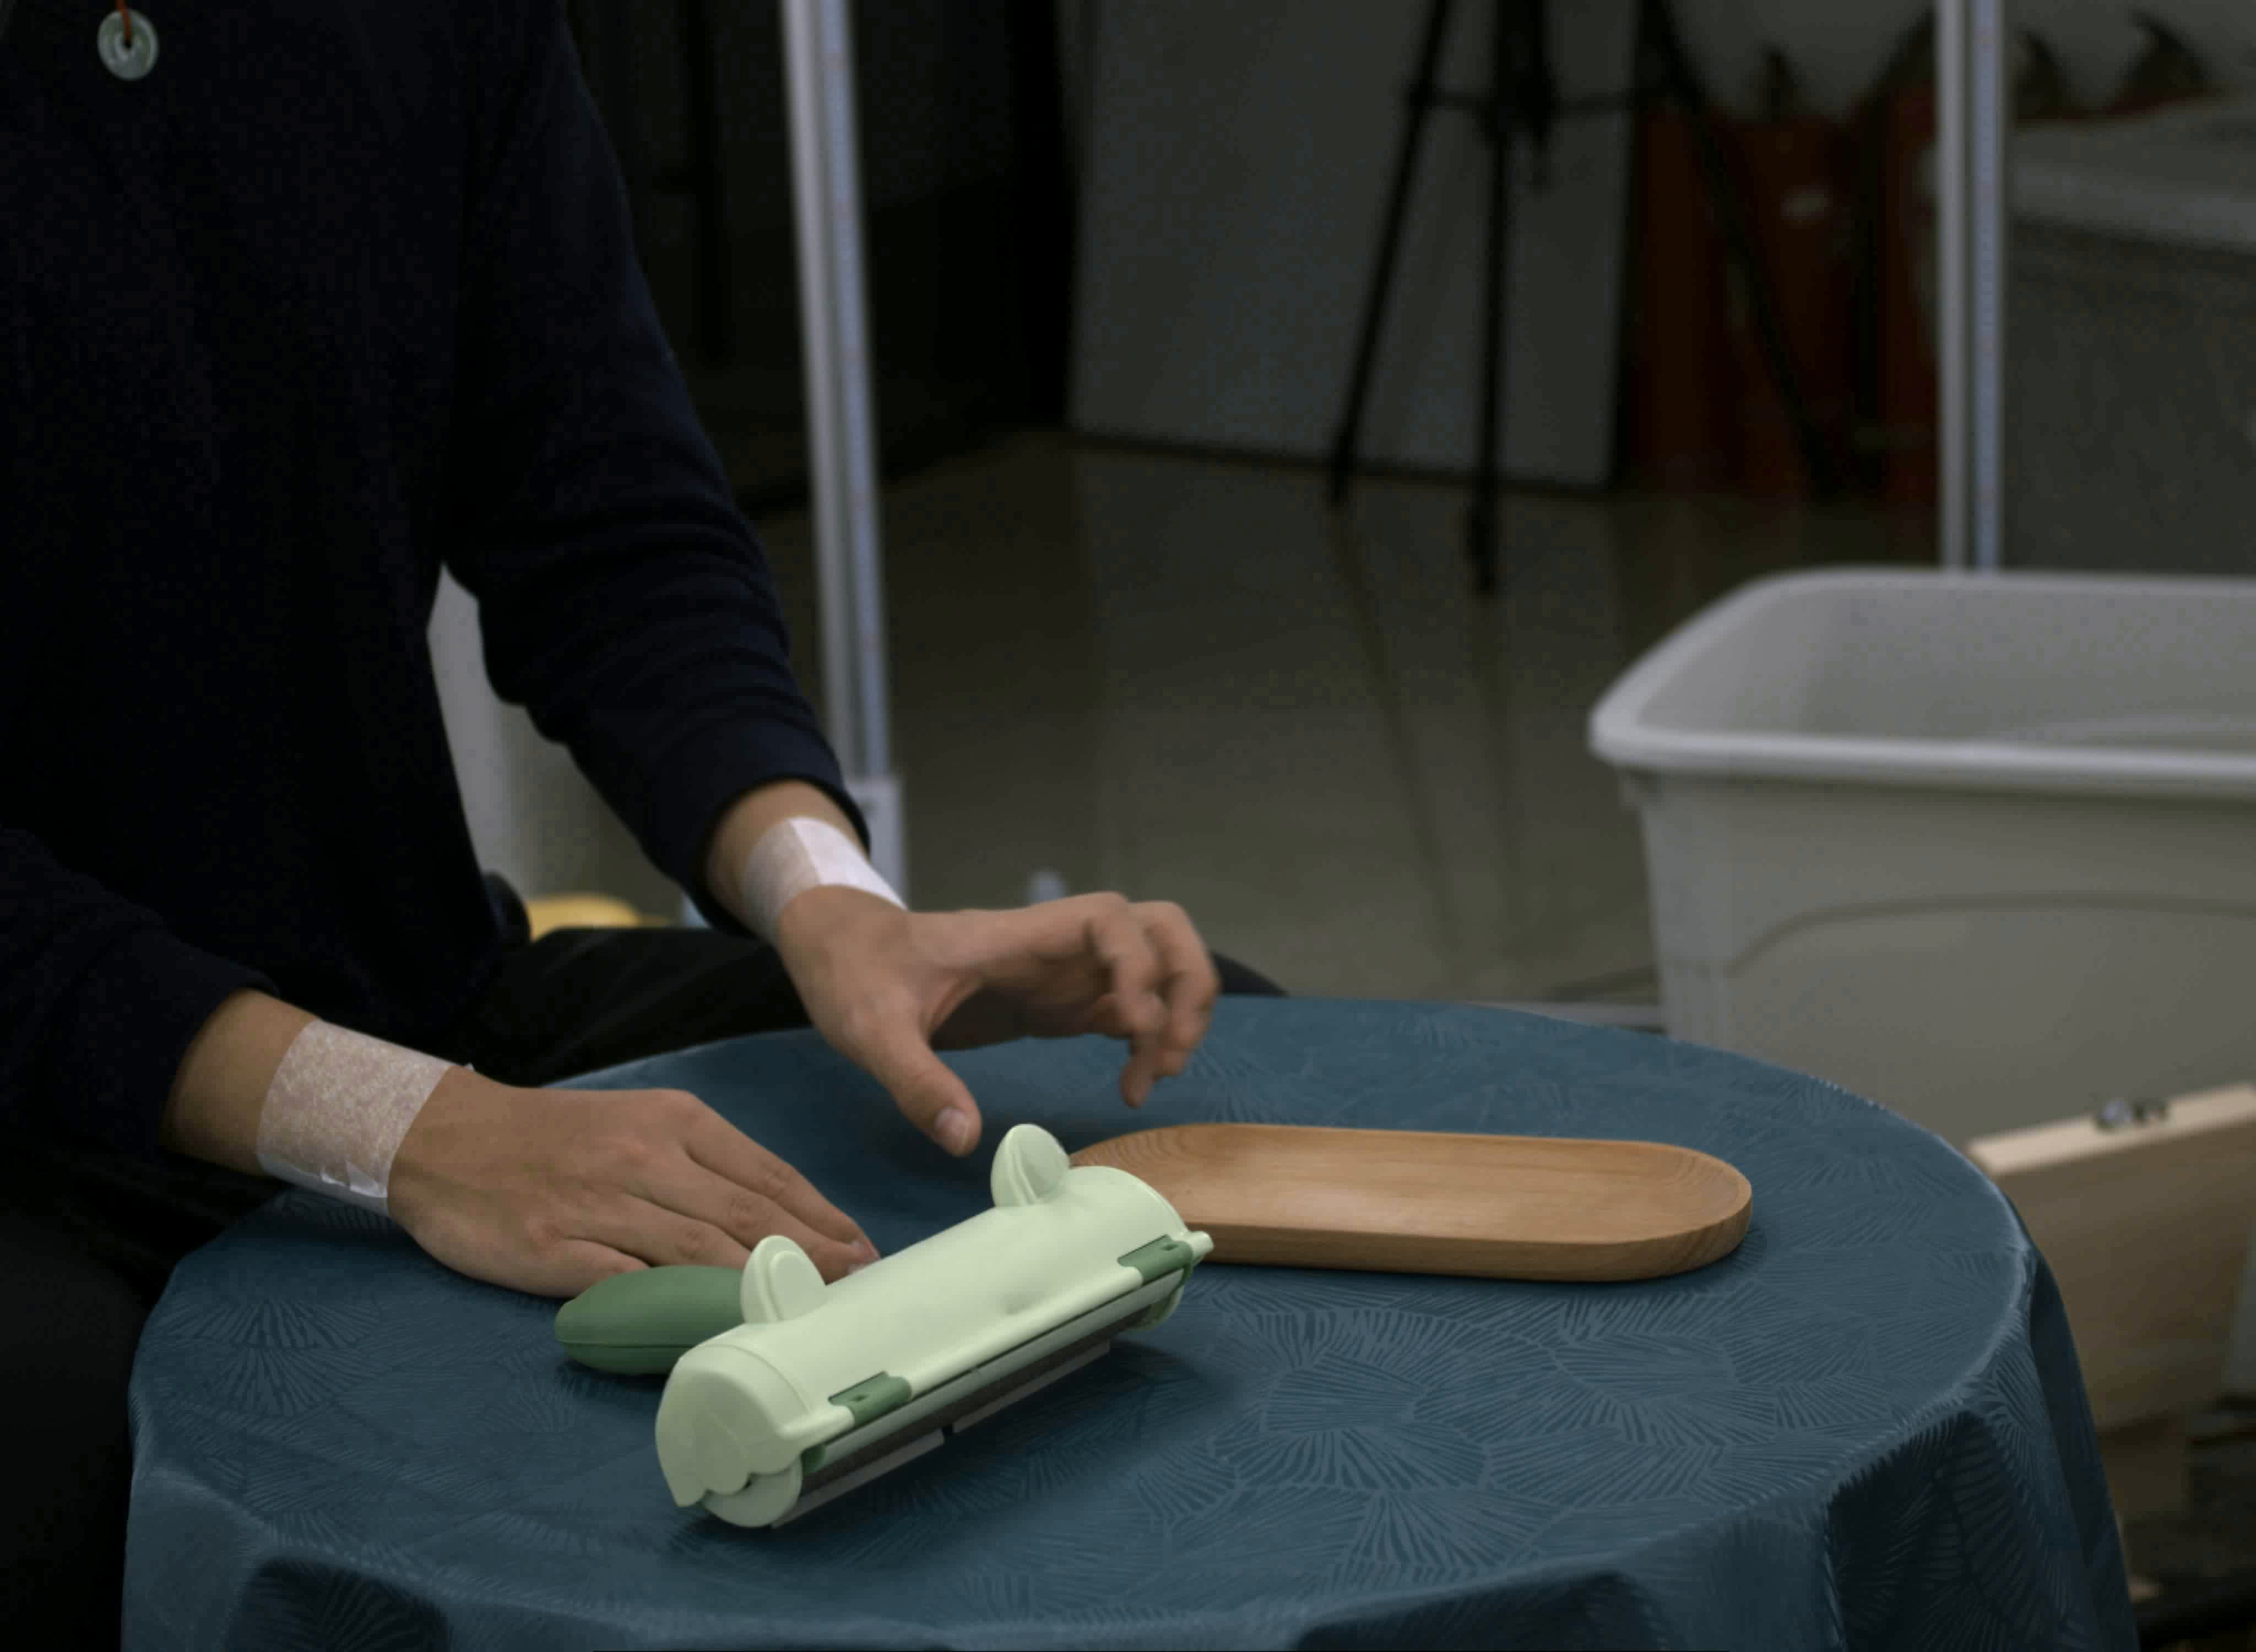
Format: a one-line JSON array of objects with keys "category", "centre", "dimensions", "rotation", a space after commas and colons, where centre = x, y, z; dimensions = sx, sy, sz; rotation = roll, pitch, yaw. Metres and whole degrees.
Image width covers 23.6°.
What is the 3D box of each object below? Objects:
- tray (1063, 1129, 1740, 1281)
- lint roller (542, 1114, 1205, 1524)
[{"category": "tray", "centre": [0.082, 0.120, 1.715], "dimensions": [0.231, 0.020, 0.101], "rotation": [-1, 14, 20]}, {"category": "lint roller", "centre": [-0.102, 0.129, 1.584], "dimensions": [0.184, 0.083, 0.195], "rotation": [13, 20, 35]}]
